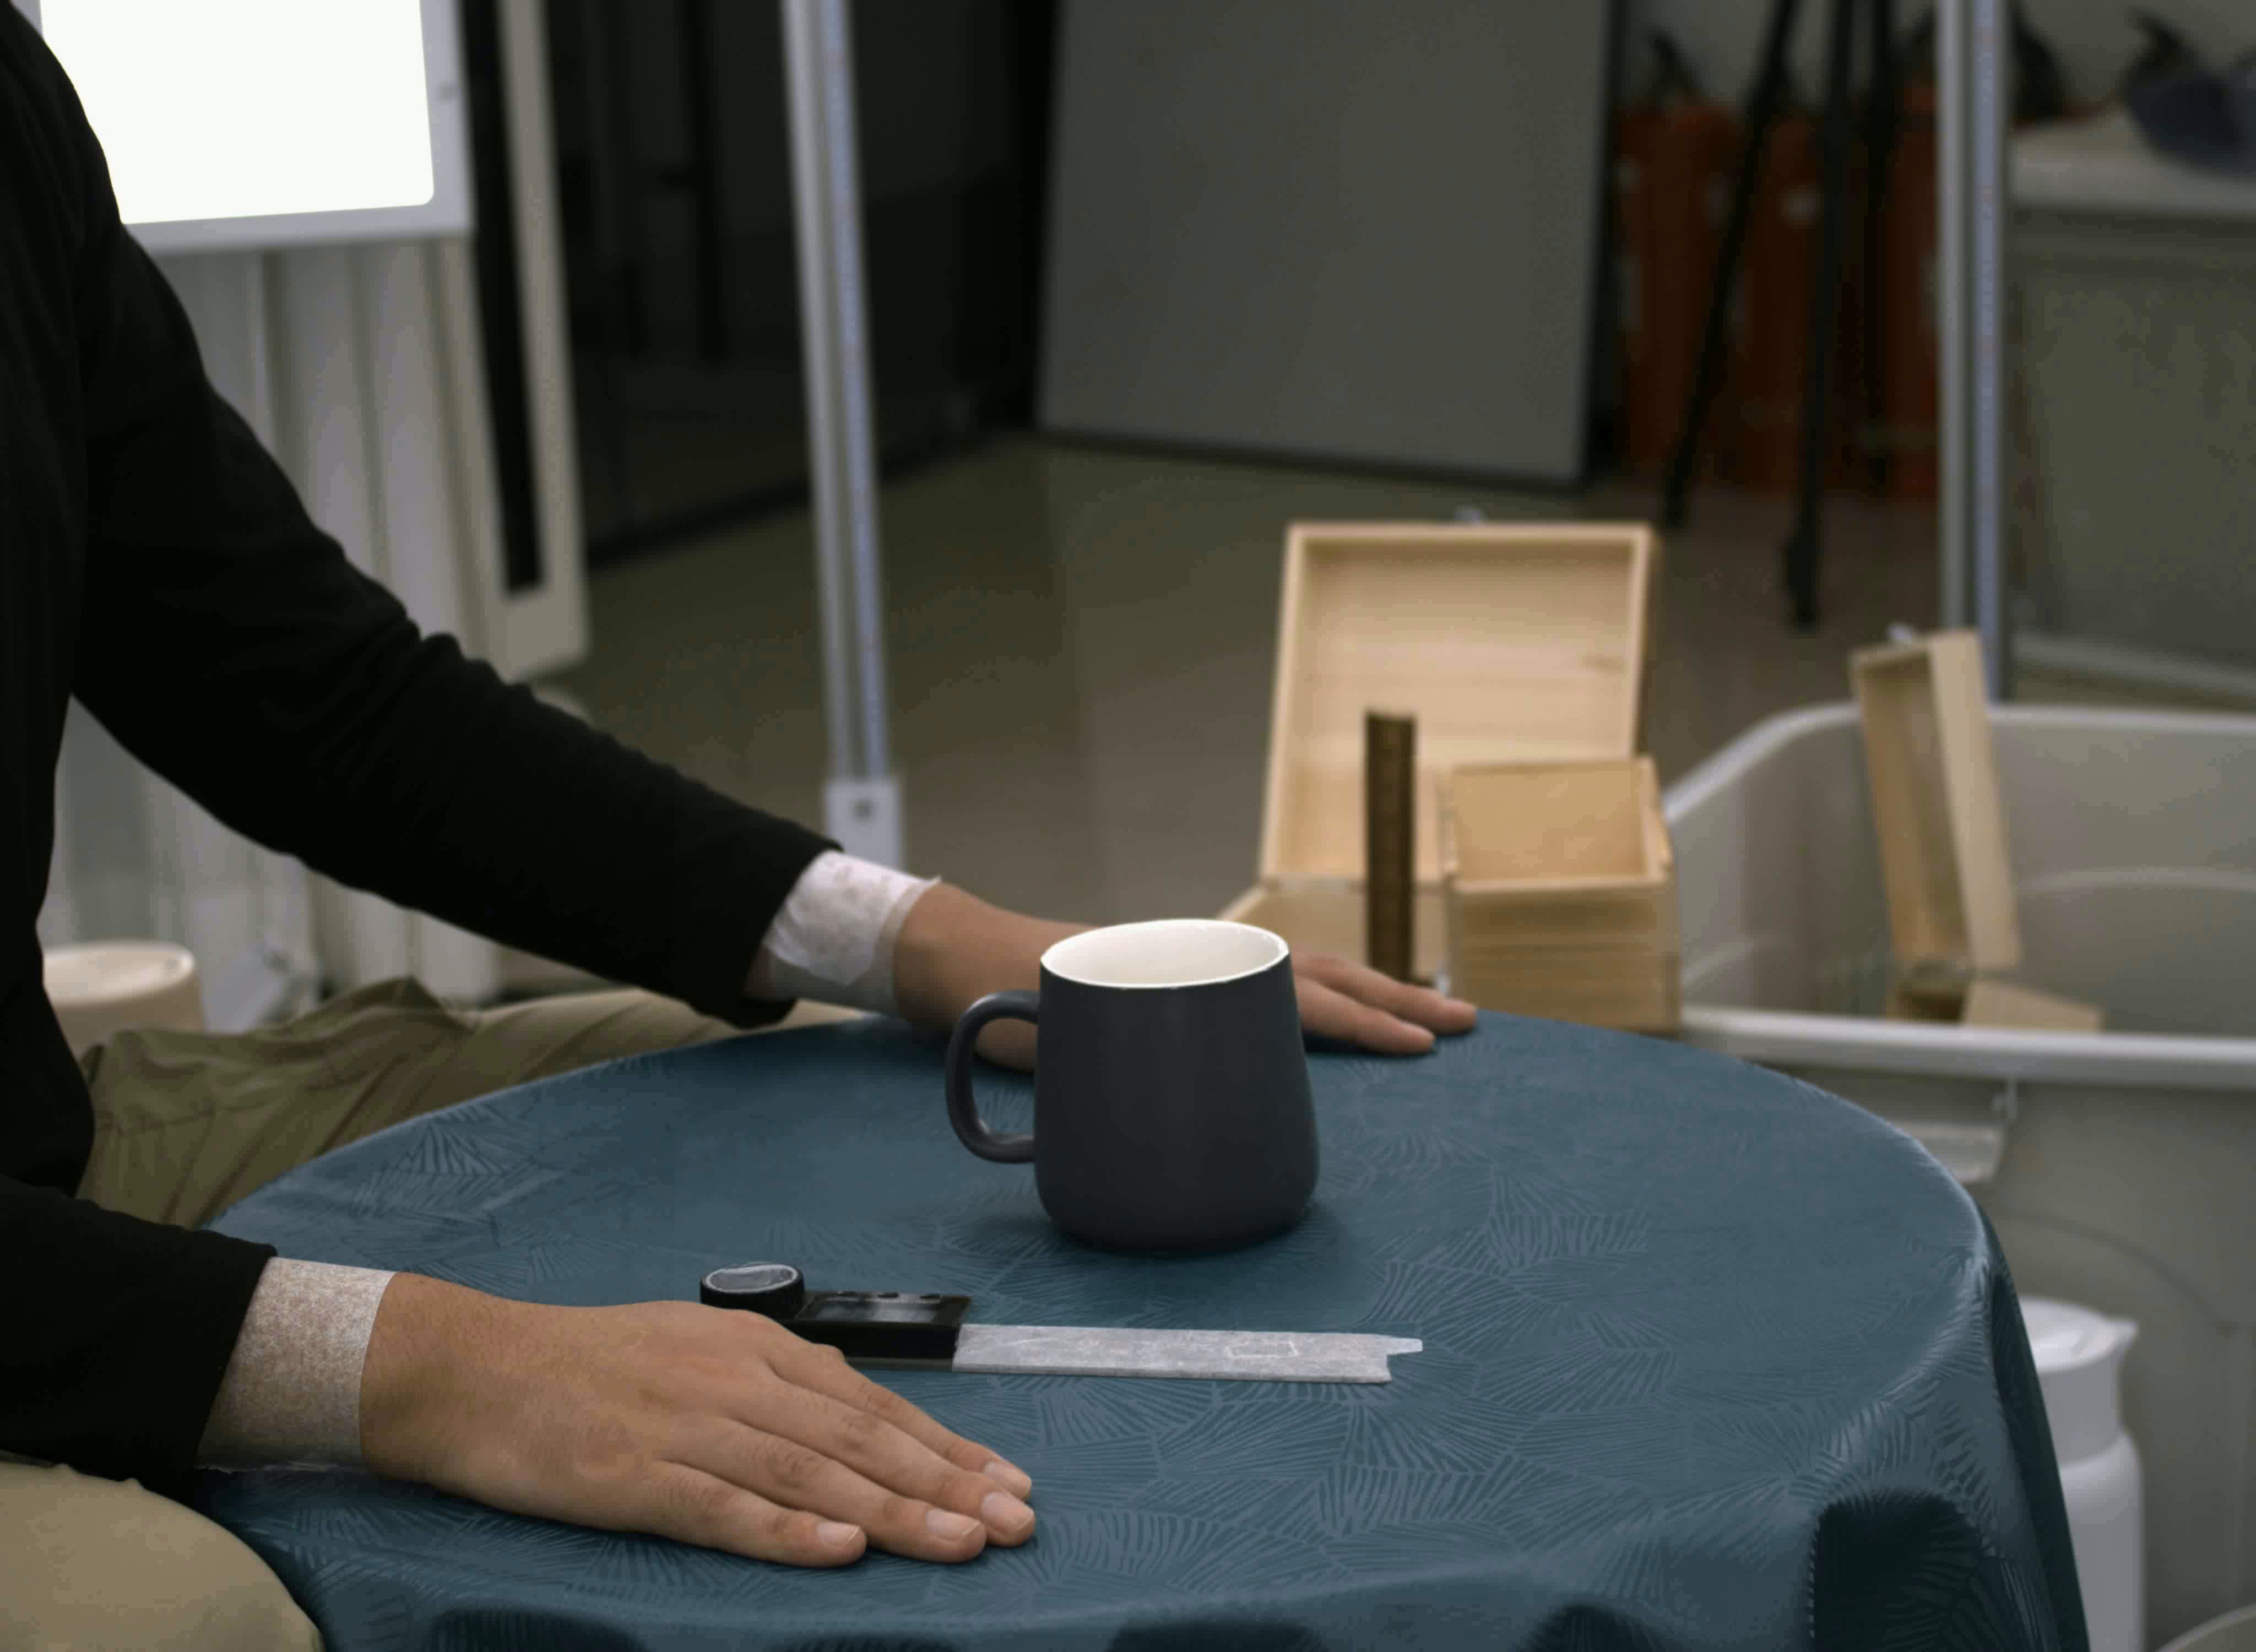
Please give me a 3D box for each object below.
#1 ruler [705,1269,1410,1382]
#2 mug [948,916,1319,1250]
[{"bbox_3d":[-0.024,0.149,1.616,0.217,0.024,0.038,-1,20,16],"label":"ruler"},{"bbox_3d":[0.000,0.081,1.734,0.123,0.091,0.092,2,14,19],"label":"mug"}]
